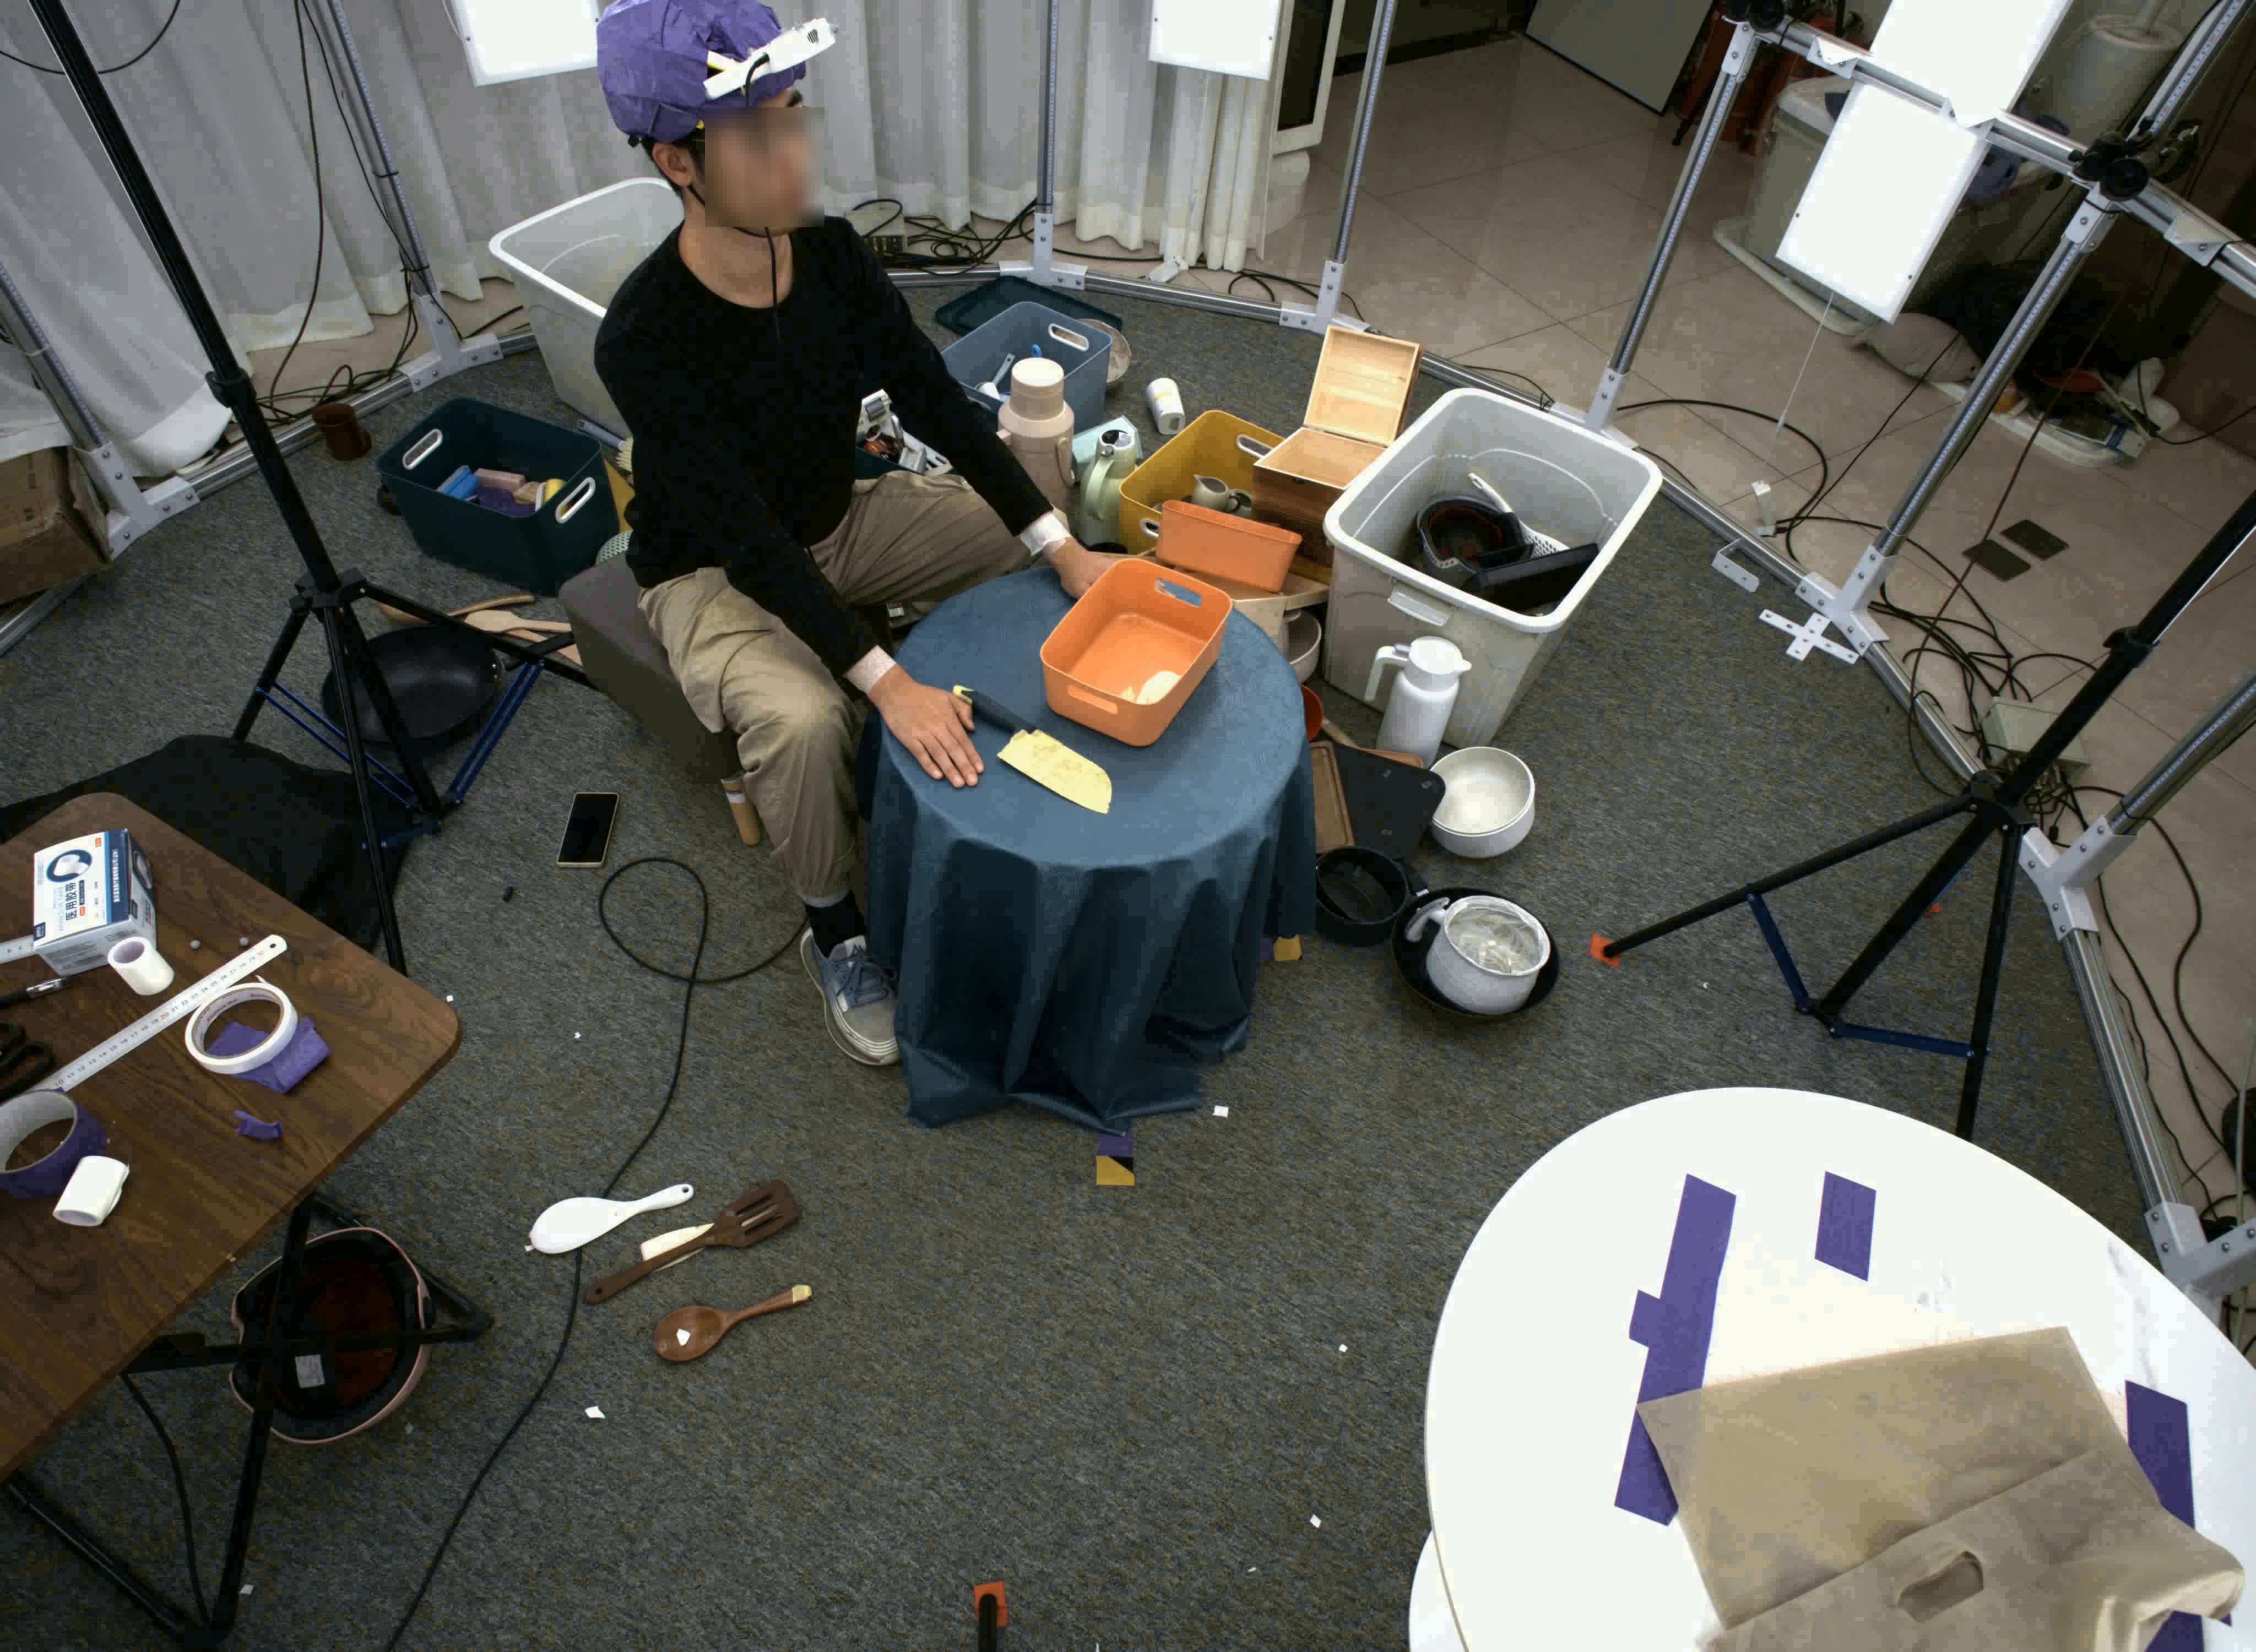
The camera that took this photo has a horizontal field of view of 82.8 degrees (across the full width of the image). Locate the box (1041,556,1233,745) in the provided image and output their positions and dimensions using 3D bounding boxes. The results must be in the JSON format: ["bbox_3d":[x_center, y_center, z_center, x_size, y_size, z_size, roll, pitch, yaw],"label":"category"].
[{"bbox_3d":[0.010,-0.247,1.817,0.201,0.100,0.278,24,52,15],"label":"box"}]

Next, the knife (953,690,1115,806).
[{"bbox_3d":[-0.134,-0.106,1.744,0.293,0.026,0.082,33,53,22],"label":"knife"}]
